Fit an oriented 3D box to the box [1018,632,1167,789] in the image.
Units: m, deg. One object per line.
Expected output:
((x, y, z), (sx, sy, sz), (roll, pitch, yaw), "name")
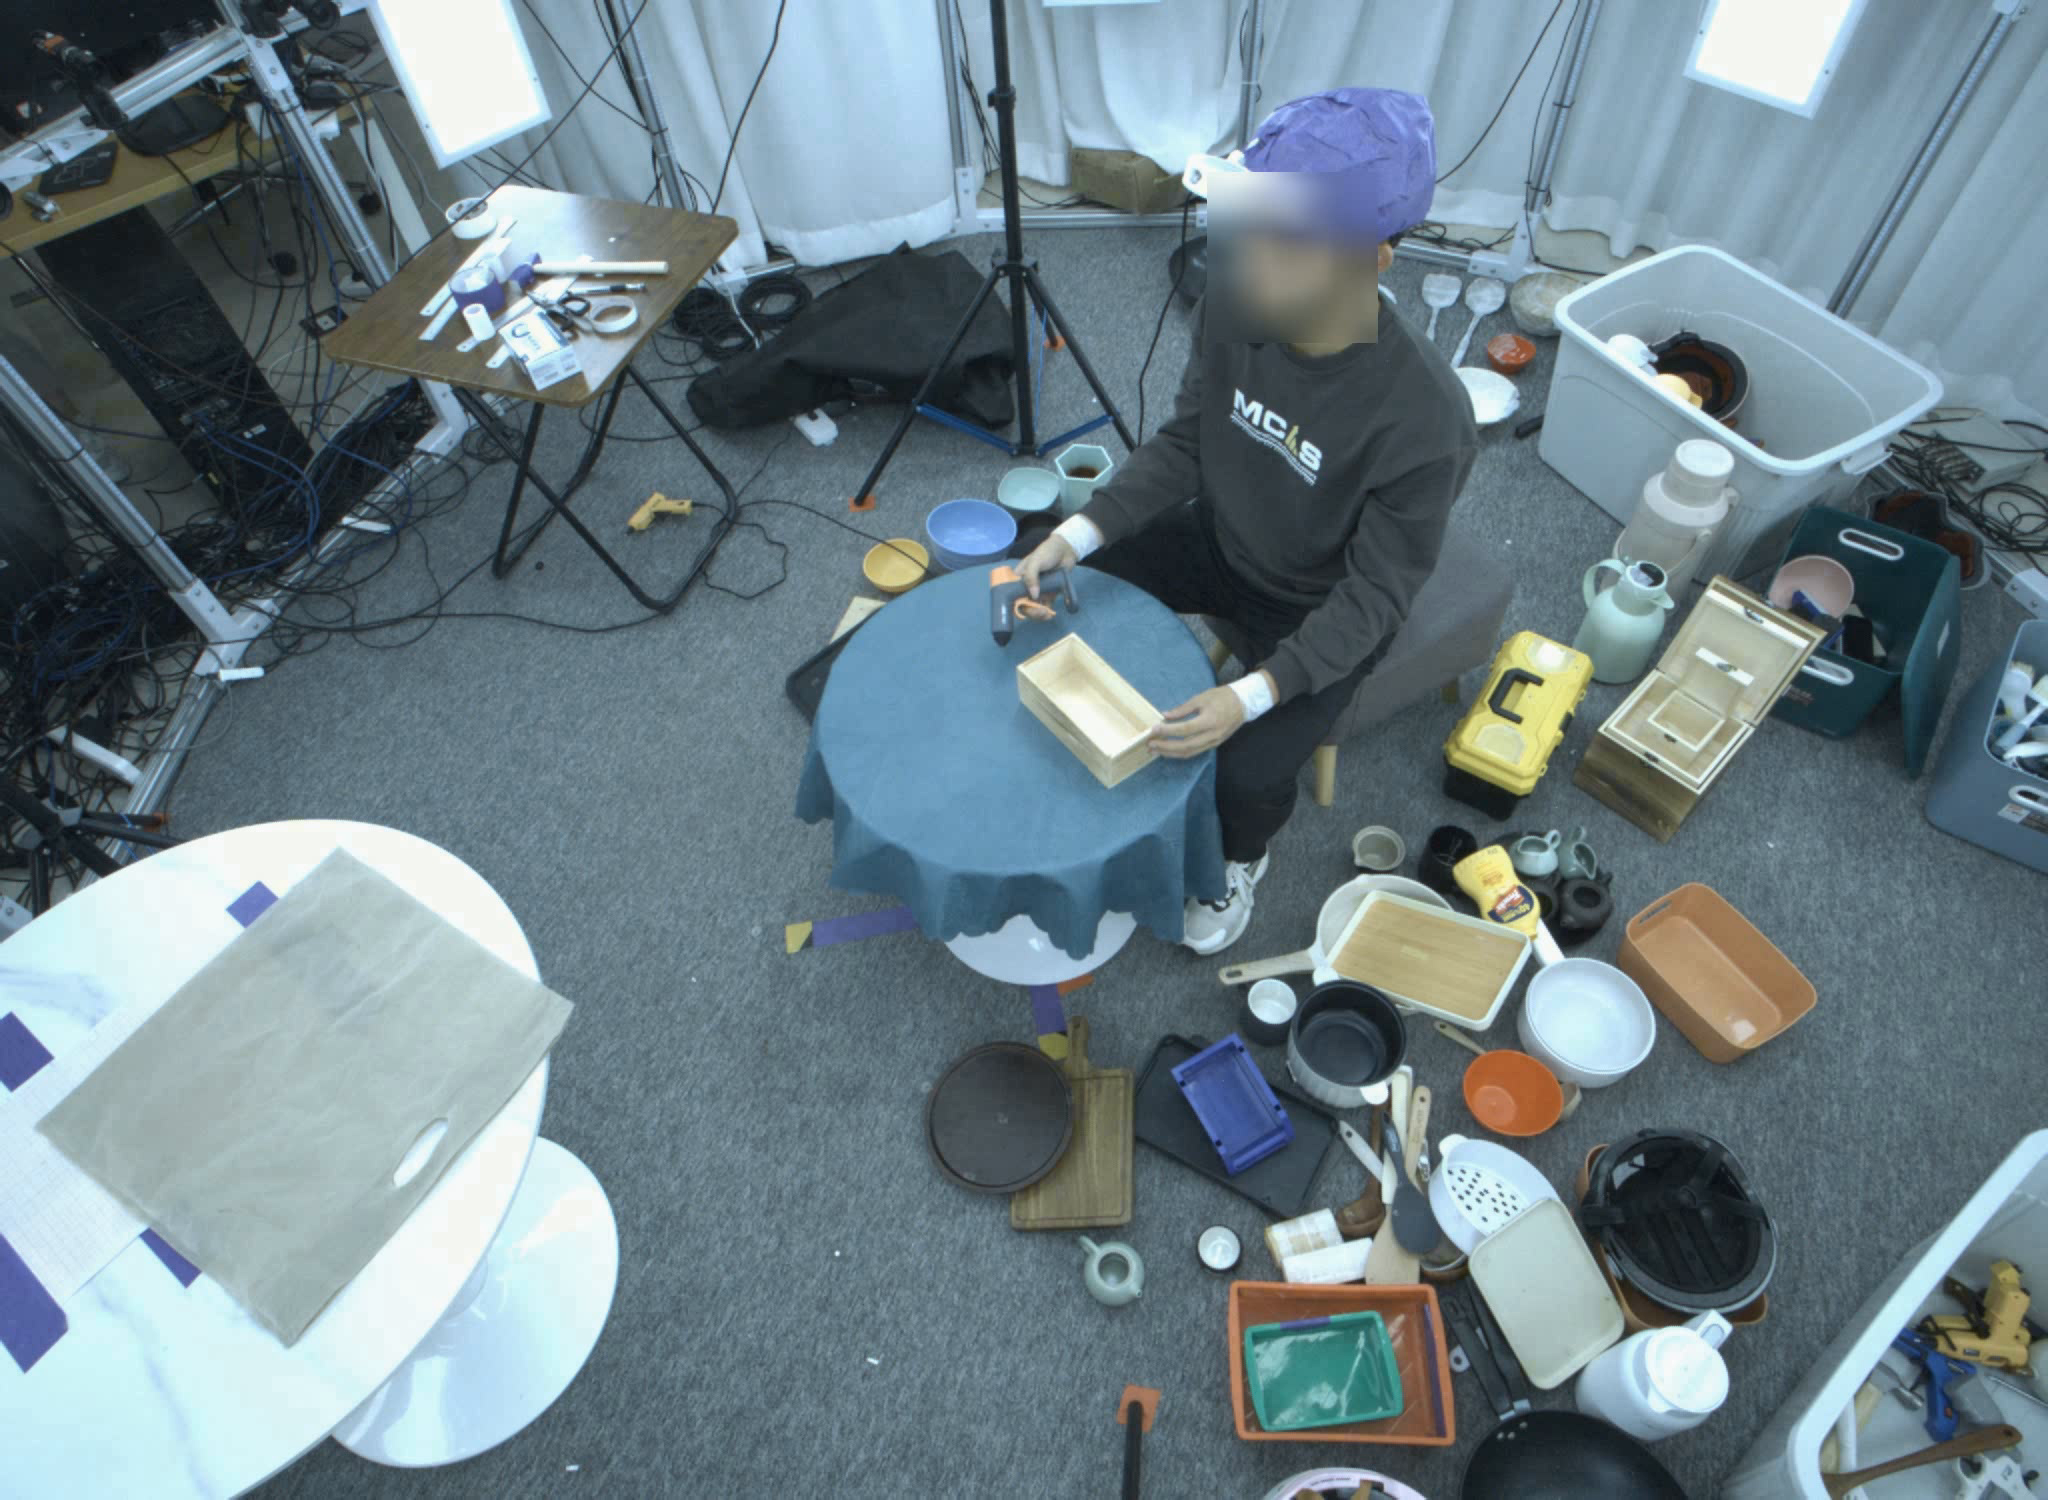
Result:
((0.097, -0.060, 1.776), (0.108, 0.081, 0.207), (-32, 59, -20), "box")

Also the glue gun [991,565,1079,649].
((0.008, -0.224, 1.864), (0.141, 0.040, 0.118), (-15, 92, -14), "glue gun")
